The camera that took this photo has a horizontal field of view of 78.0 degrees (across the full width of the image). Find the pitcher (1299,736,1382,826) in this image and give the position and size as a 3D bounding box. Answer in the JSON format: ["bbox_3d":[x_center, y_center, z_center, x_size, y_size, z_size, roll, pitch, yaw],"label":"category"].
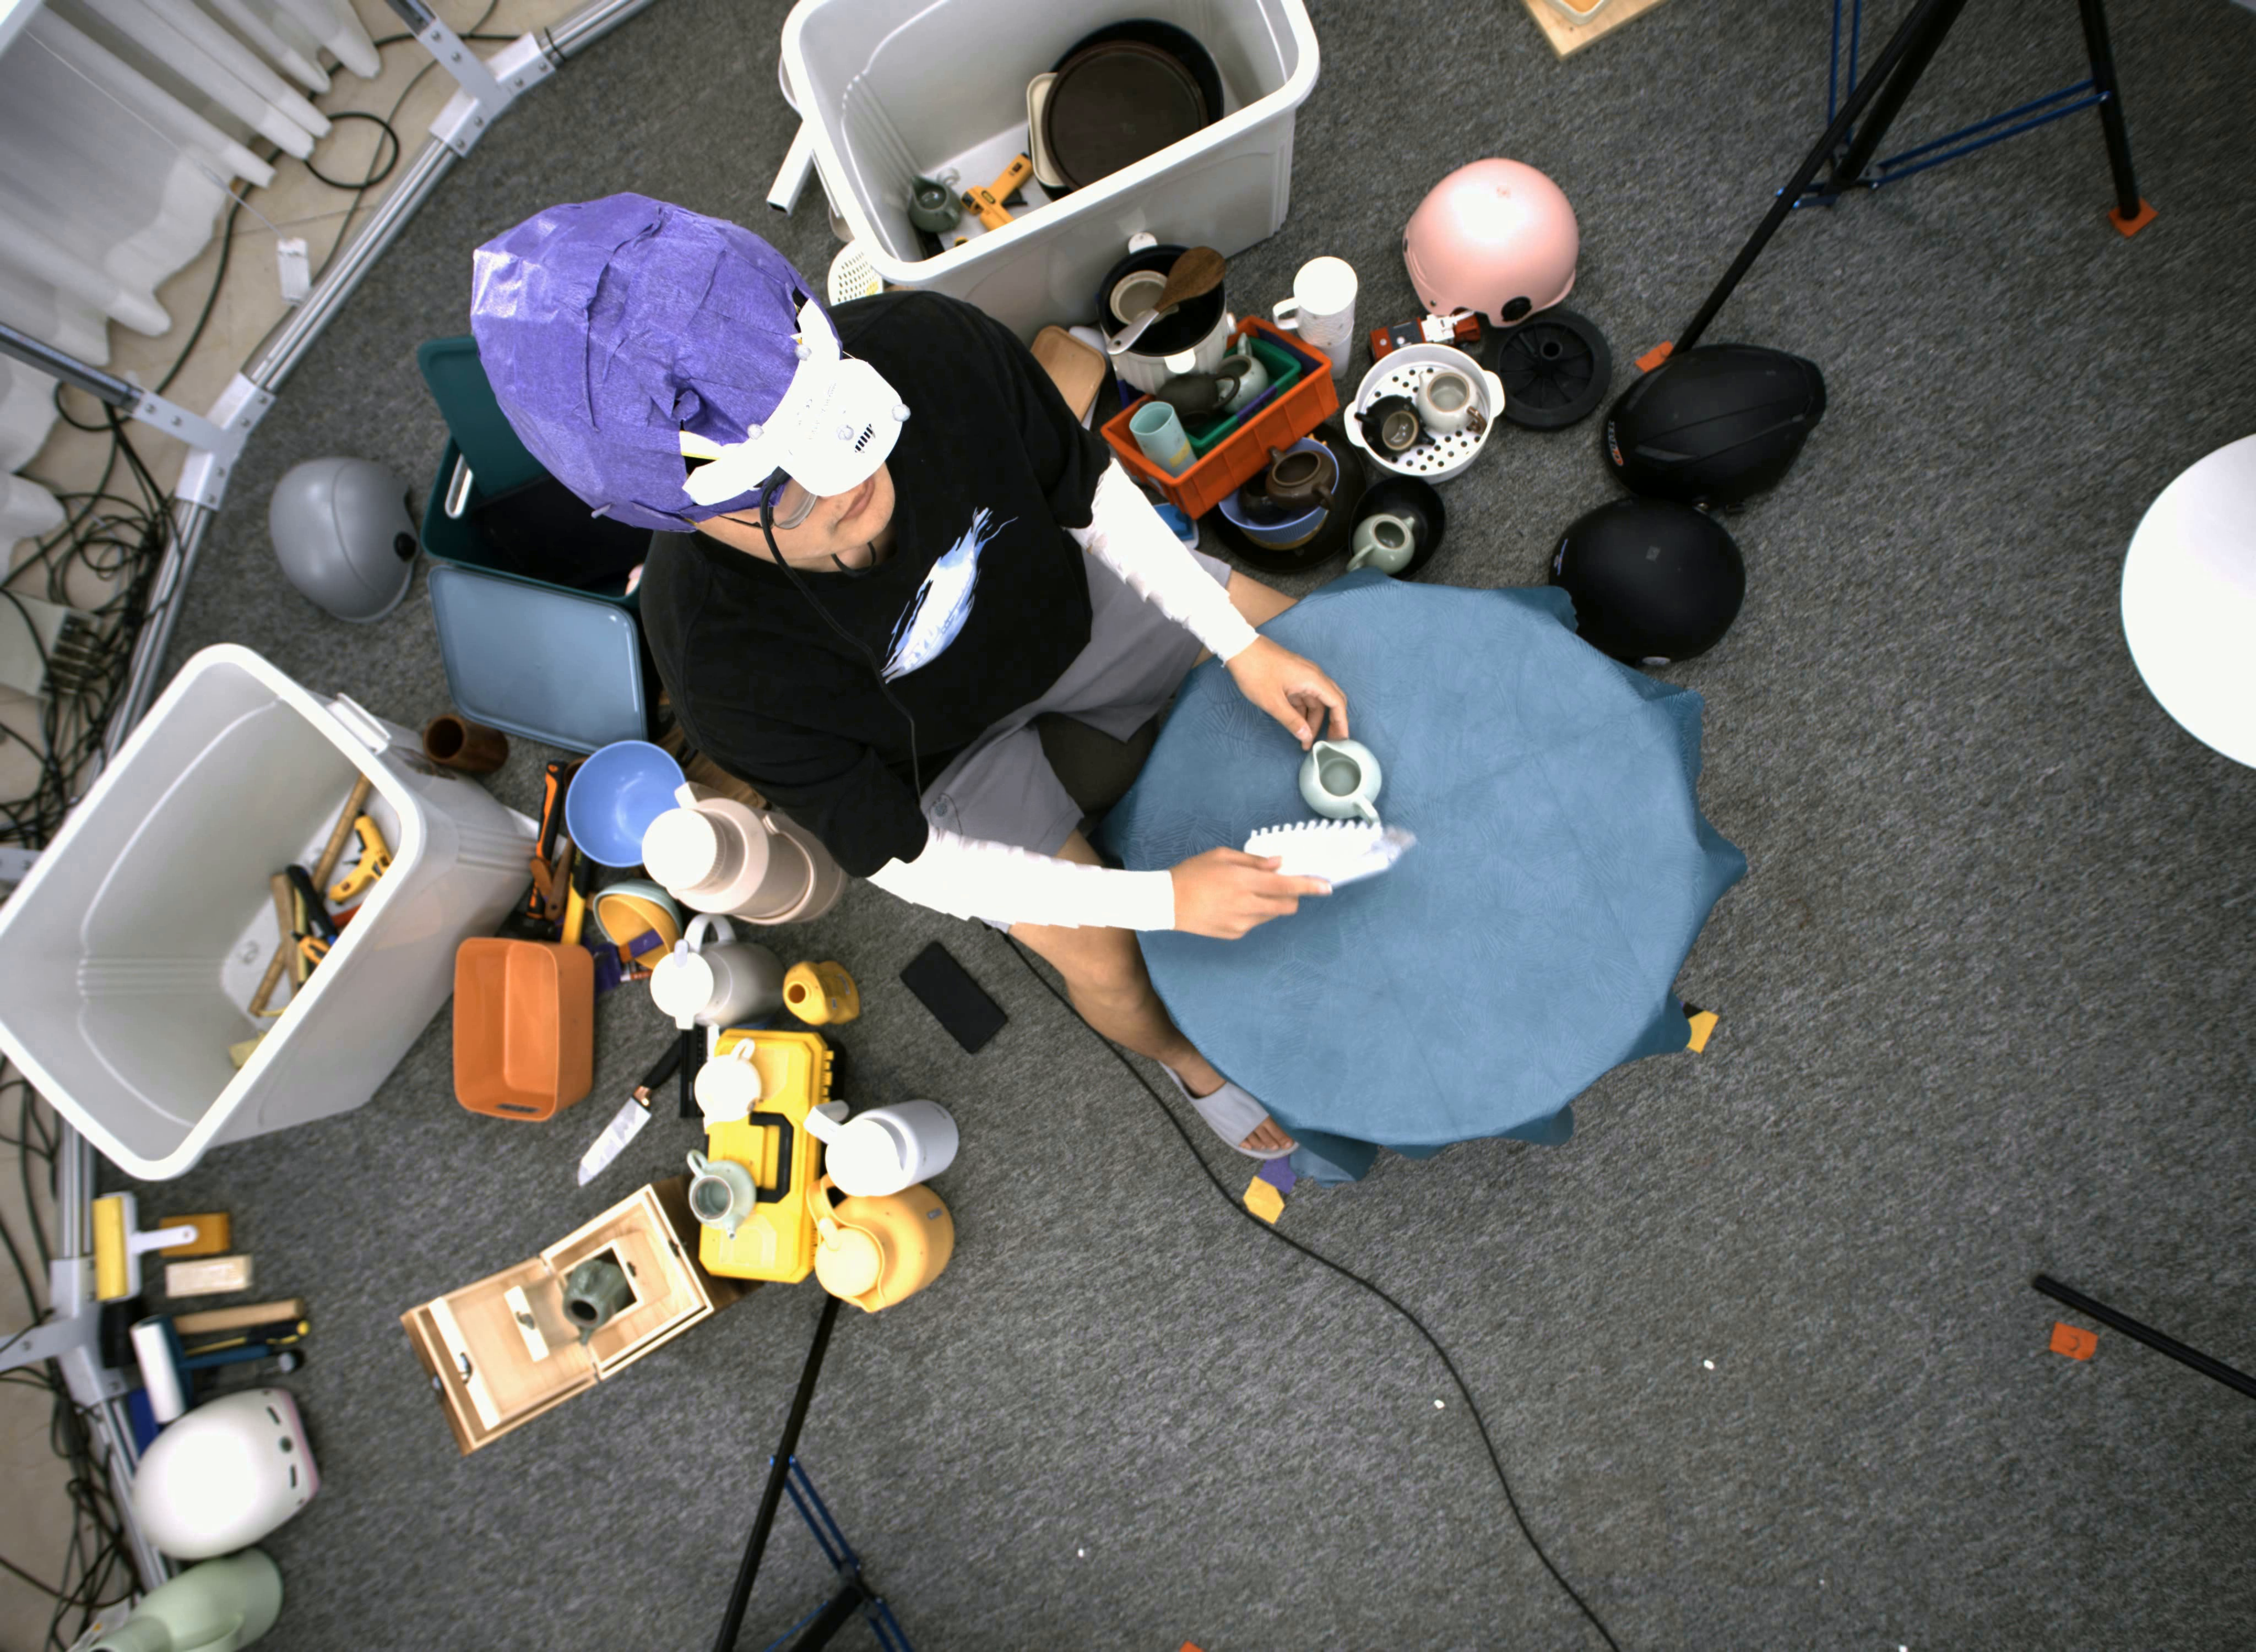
[{"bbox_3d":[0.229,-0.045,1.444,0.086,0.060,0.107,-40,83,6],"label":"pitcher"}]

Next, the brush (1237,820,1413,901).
[{"bbox_3d":[0.193,0.038,1.386,0.177,0.092,0.062,-3,121,27],"label":"brush"}]
